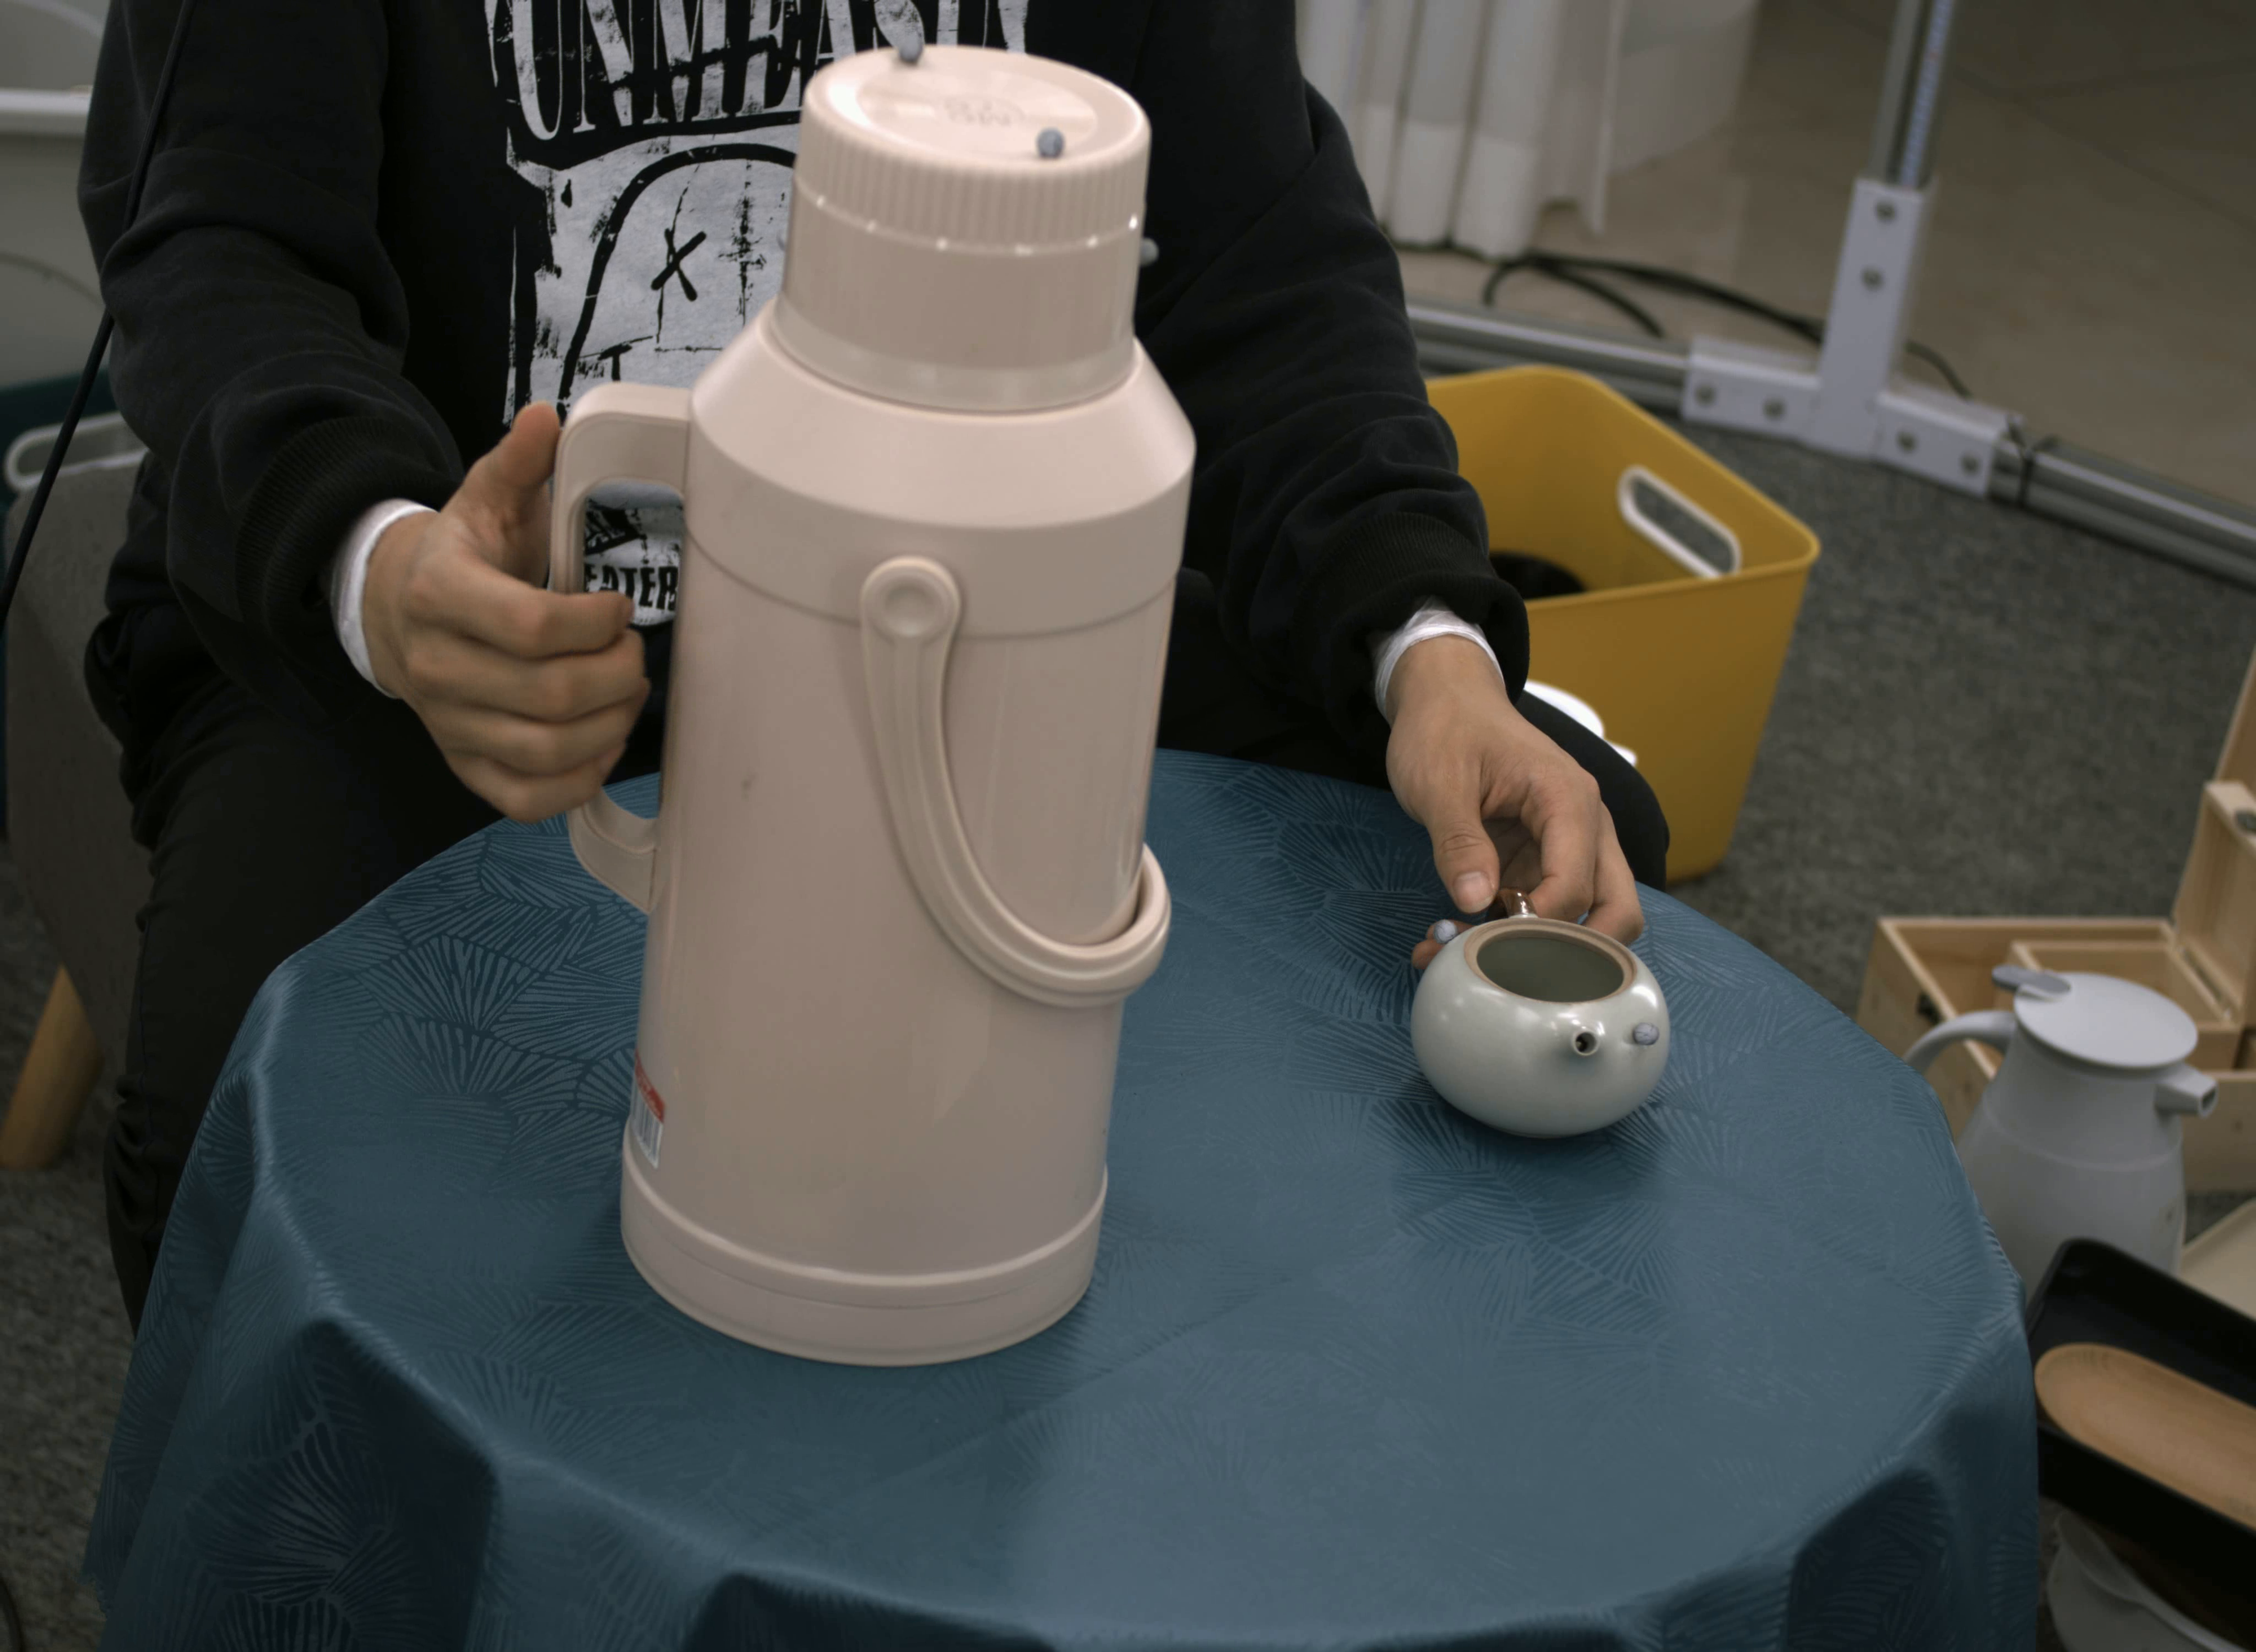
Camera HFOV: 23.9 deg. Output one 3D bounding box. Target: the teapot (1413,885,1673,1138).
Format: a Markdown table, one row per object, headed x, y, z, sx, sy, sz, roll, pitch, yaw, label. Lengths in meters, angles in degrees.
| x | y | z | sx | sy | sz | roll | pitch | yaw | label |
| --- | --- | --- | --- | --- | --- | --- | --- | --- | --- |
| 0.144 | 0.067 | 1.884 | 0.091 | 0.059 | 0.129 | -3 | 29 | -11 | teapot |

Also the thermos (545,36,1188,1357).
| x | y | z | sx | sy | sz | roll | pitch | yaw | label |
| --- | --- | --- | --- | --- | --- | --- | --- | --- | --- |
| -0.084 | -0.043 | 1.677 | 0.206 | 0.405 | 0.176 | 7 | 28 | -1 | thermos |
